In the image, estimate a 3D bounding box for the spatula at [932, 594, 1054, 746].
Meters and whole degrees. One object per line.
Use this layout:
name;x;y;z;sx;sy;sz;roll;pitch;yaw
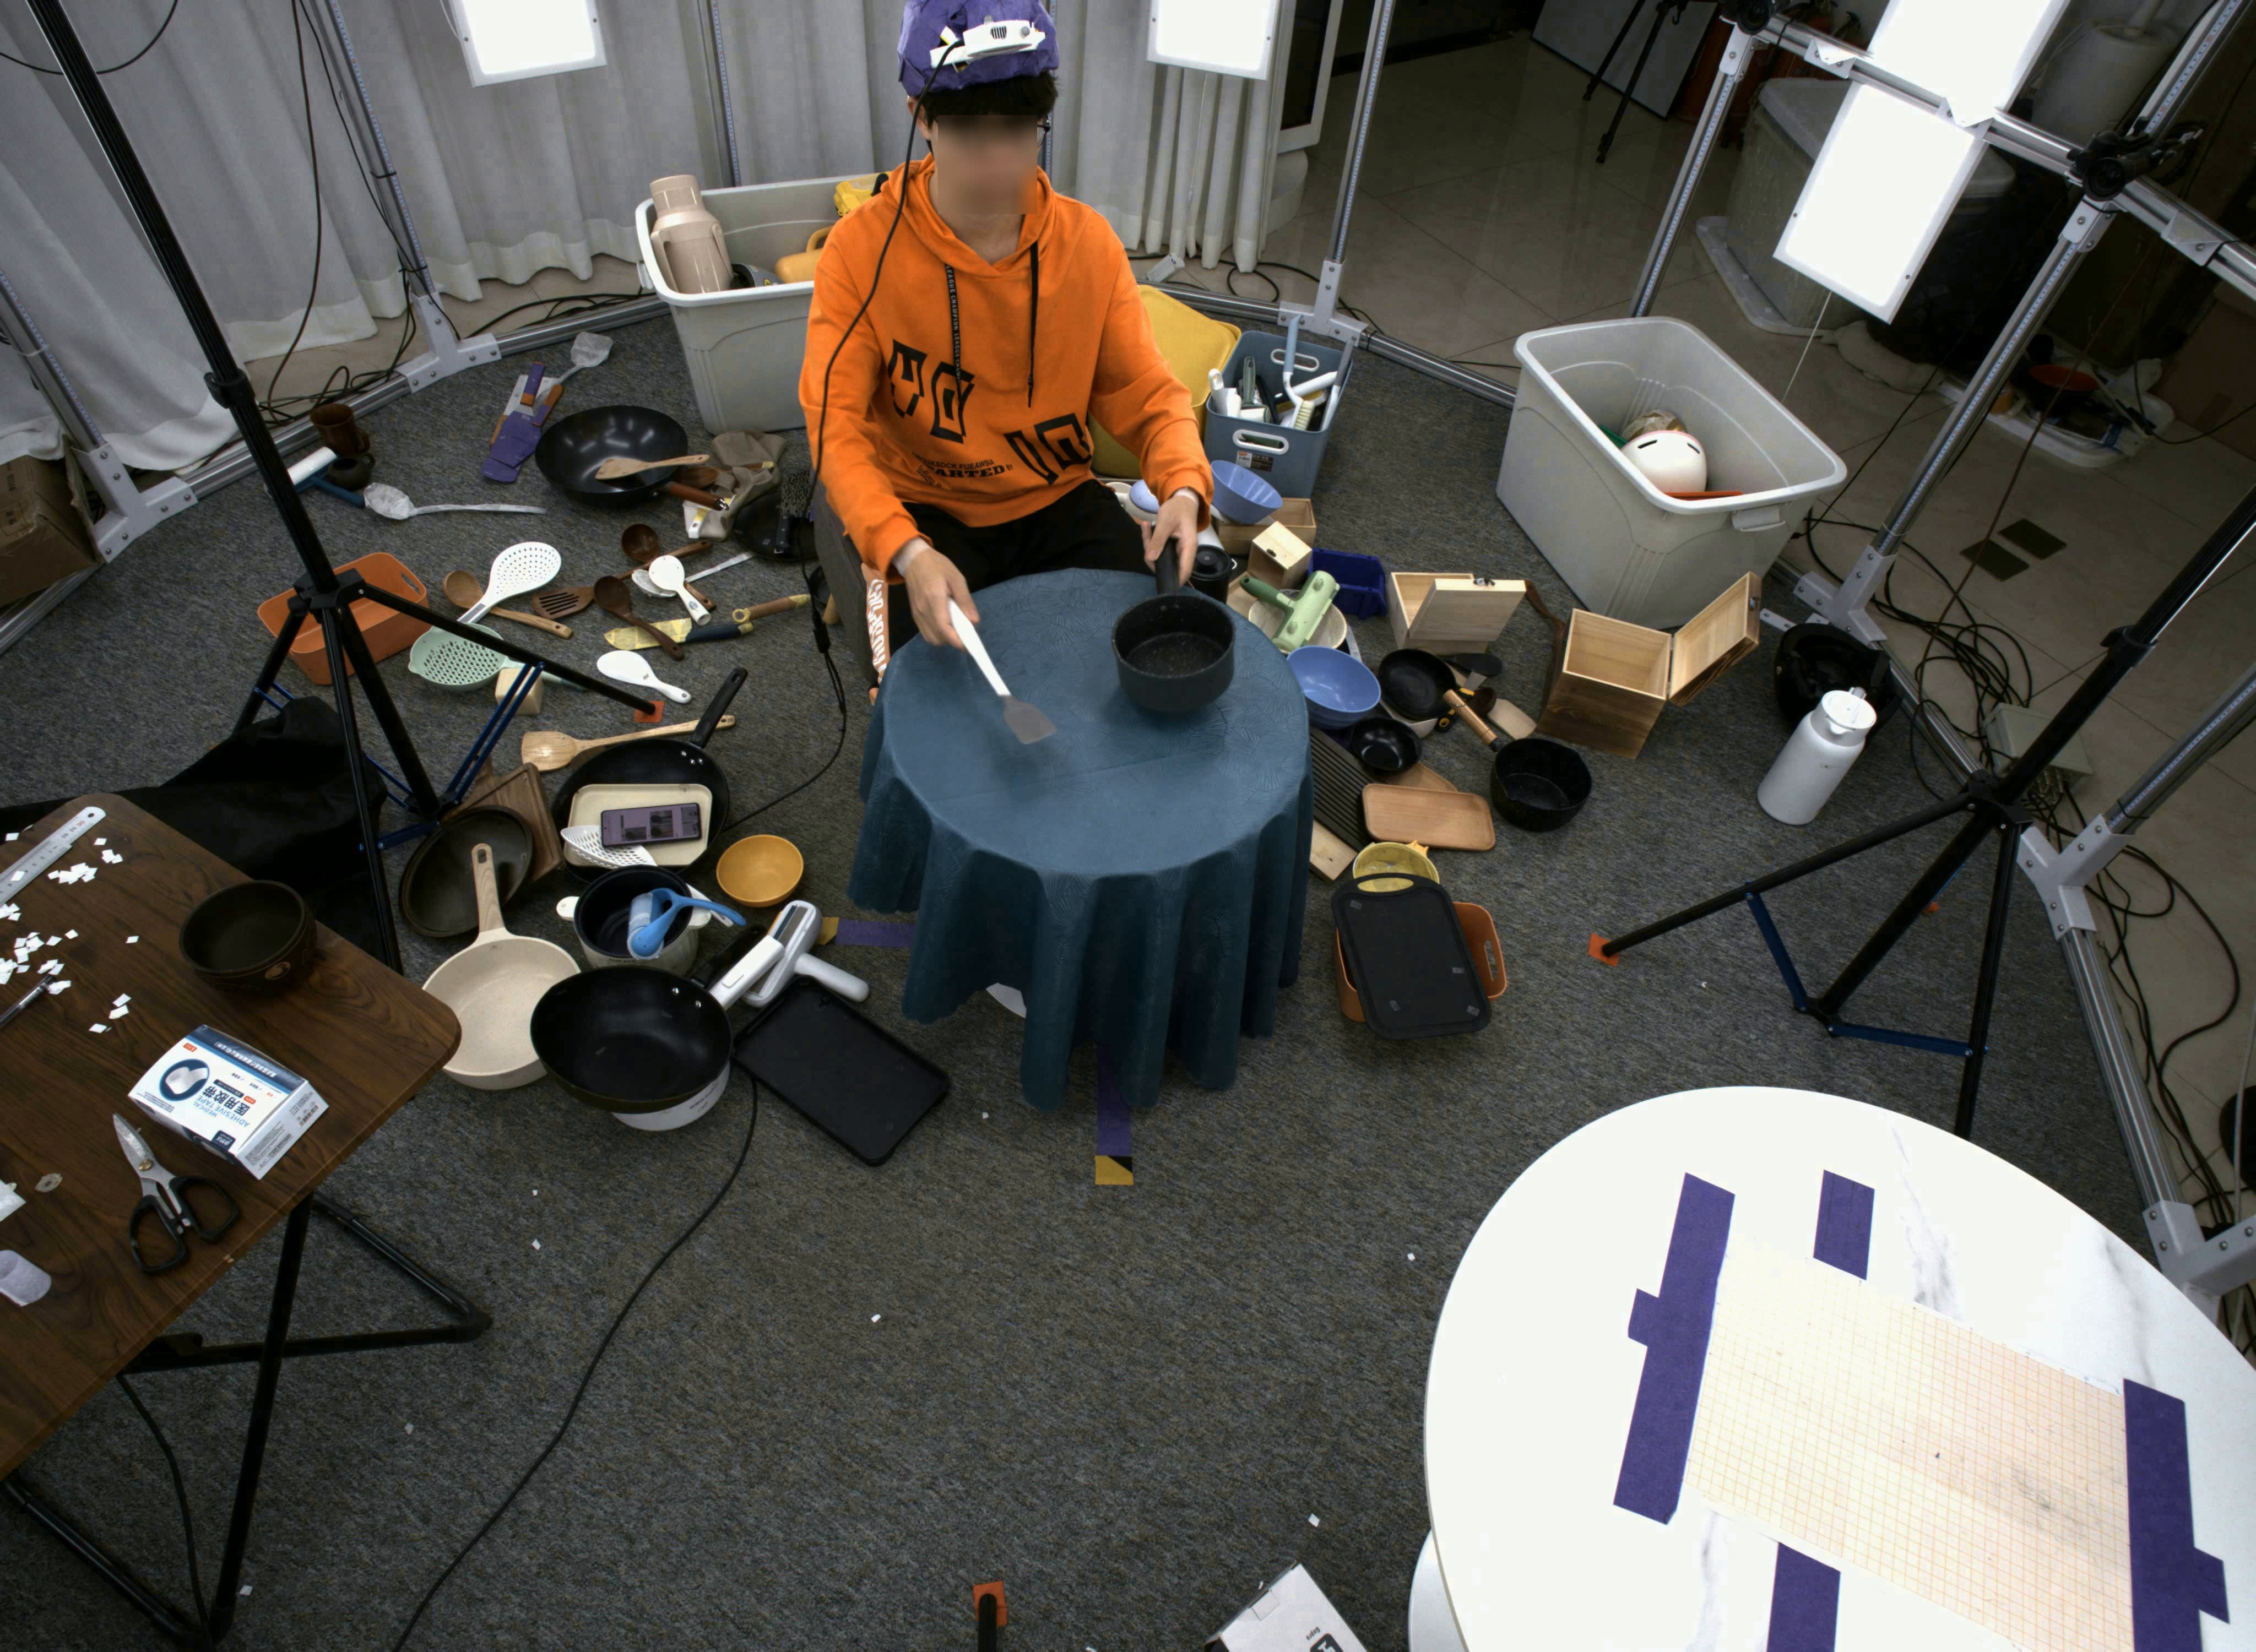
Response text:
spatula;-0.189;-0.211;1.741;0.059;0.031;0.293;-20;57;-24

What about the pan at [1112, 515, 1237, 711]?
pan;0.065;-0.306;1.835;0.172;0.084;0.337;-4;51;4
